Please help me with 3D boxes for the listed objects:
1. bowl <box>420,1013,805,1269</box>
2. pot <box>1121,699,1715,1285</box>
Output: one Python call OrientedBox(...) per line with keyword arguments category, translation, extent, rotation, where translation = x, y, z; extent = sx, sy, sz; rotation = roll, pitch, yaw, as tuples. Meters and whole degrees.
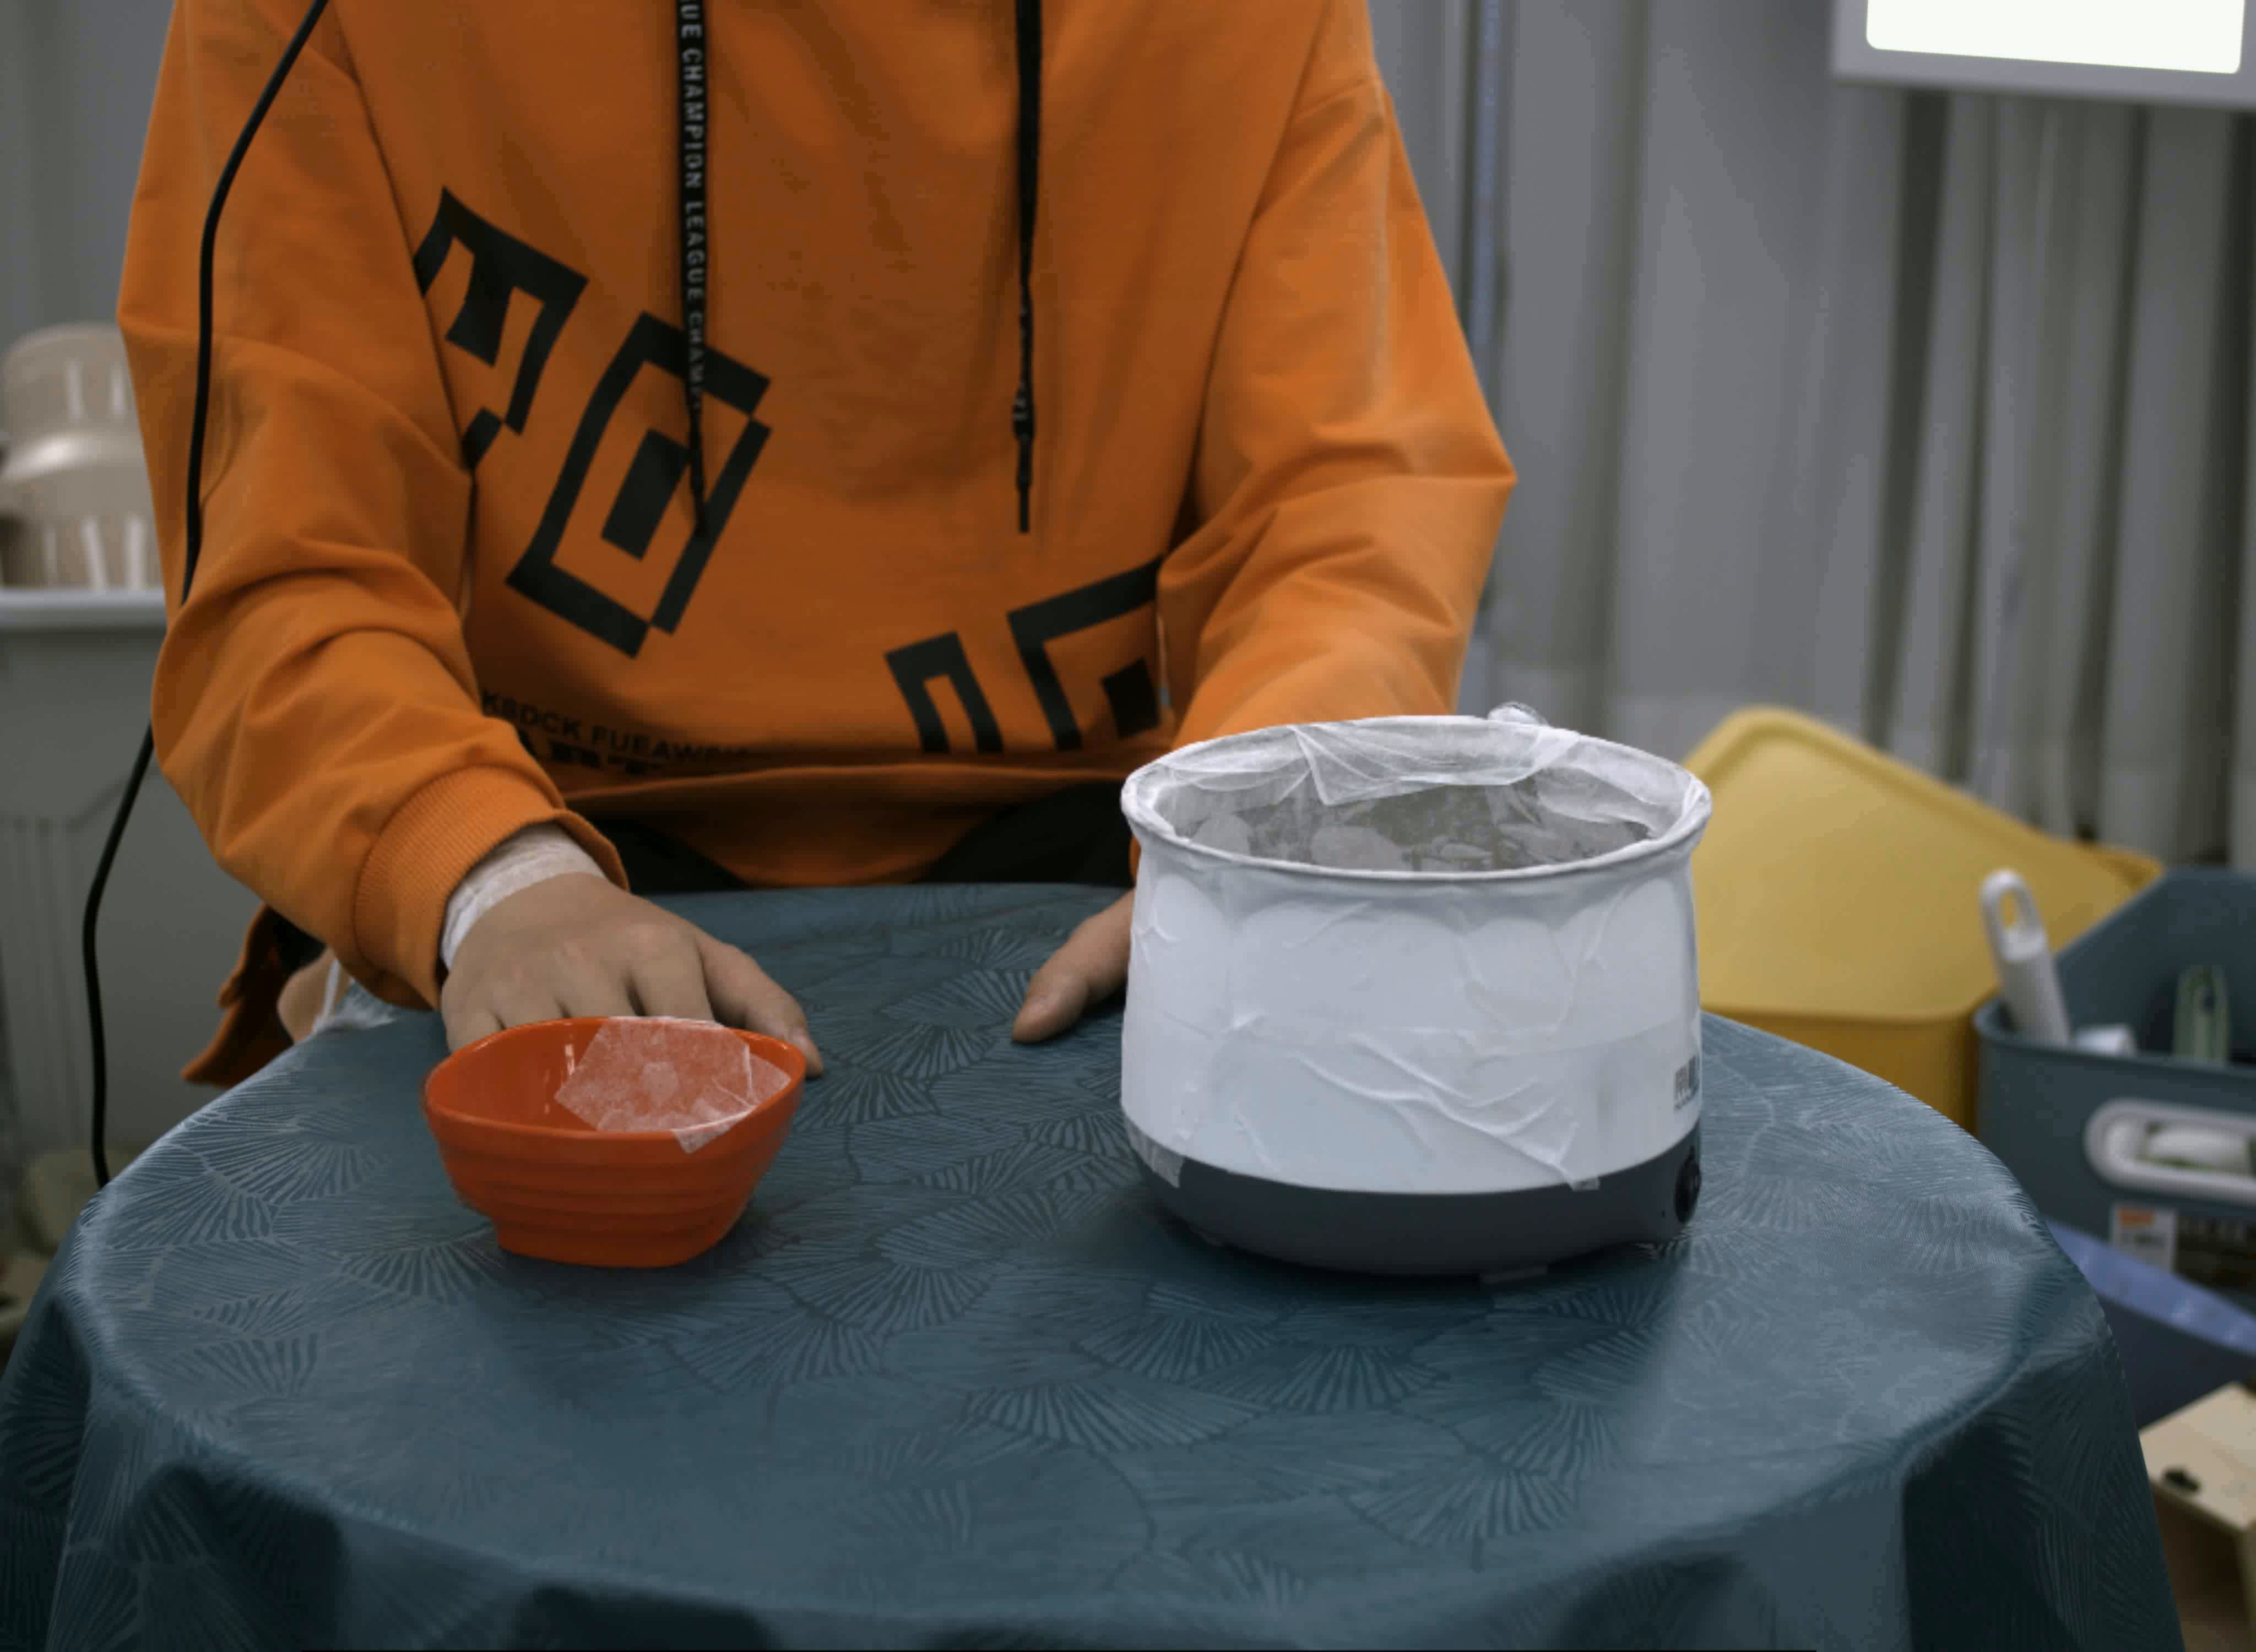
OrientedBox(category="bowl", translation=(-0.153, 0.097, 1.579), extent=(0.118, 0.052, 0.118), rotation=(-1, 16, 1))
OrientedBox(category="pot", translation=(0.095, 0.044, 1.615), extent=(0.177, 0.138, 0.234), rotation=(6, 17, 18))
